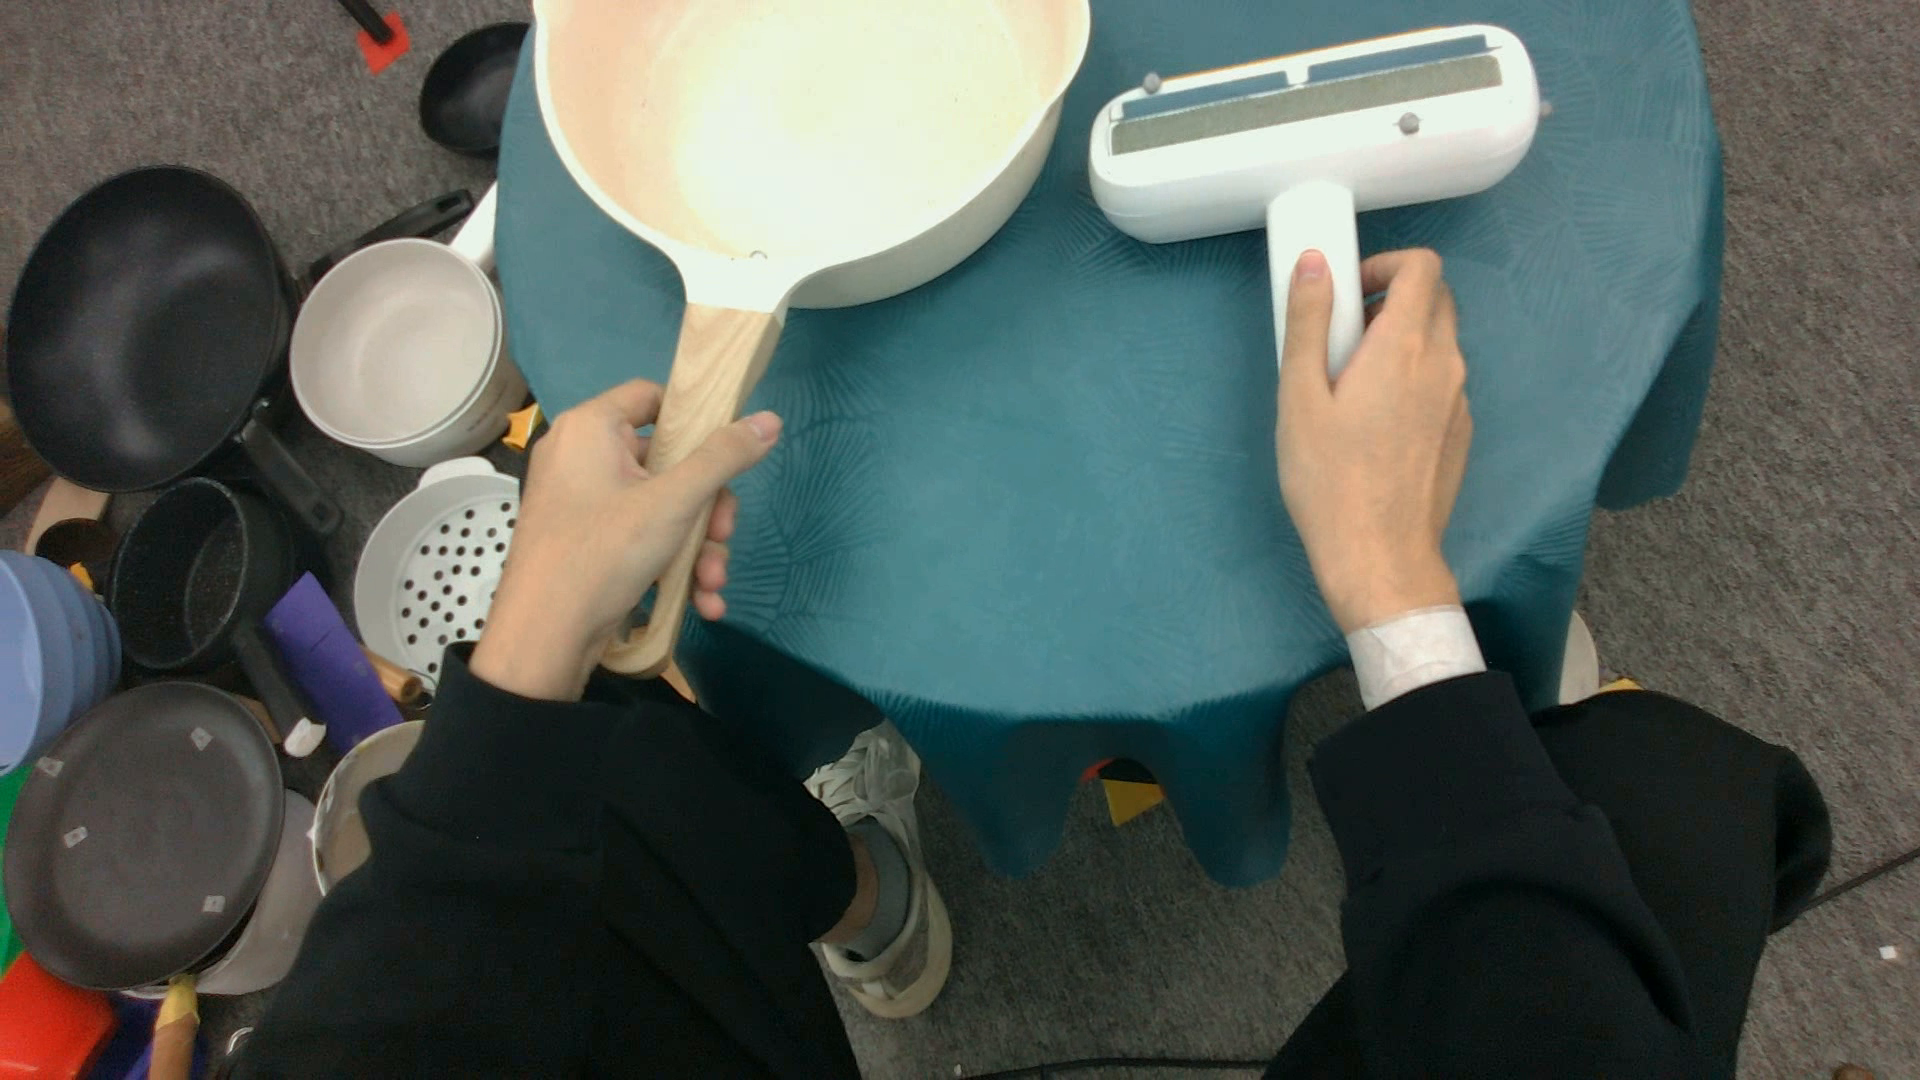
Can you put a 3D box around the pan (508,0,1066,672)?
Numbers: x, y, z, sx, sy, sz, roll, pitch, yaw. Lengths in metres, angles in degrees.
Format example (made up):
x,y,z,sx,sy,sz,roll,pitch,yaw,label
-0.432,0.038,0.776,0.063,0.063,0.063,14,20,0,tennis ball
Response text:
x,y,z,sx,sy,sz,roll,pitch,yaw,label
-0.095,-0.147,0.634,0.263,0.102,0.436,8,76,8,pan

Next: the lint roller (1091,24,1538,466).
x,y,z,sx,sy,sz,roll,pitch,yaw,label
0.152,-0.130,0.607,0.192,0.074,0.193,0,71,14,lint roller
